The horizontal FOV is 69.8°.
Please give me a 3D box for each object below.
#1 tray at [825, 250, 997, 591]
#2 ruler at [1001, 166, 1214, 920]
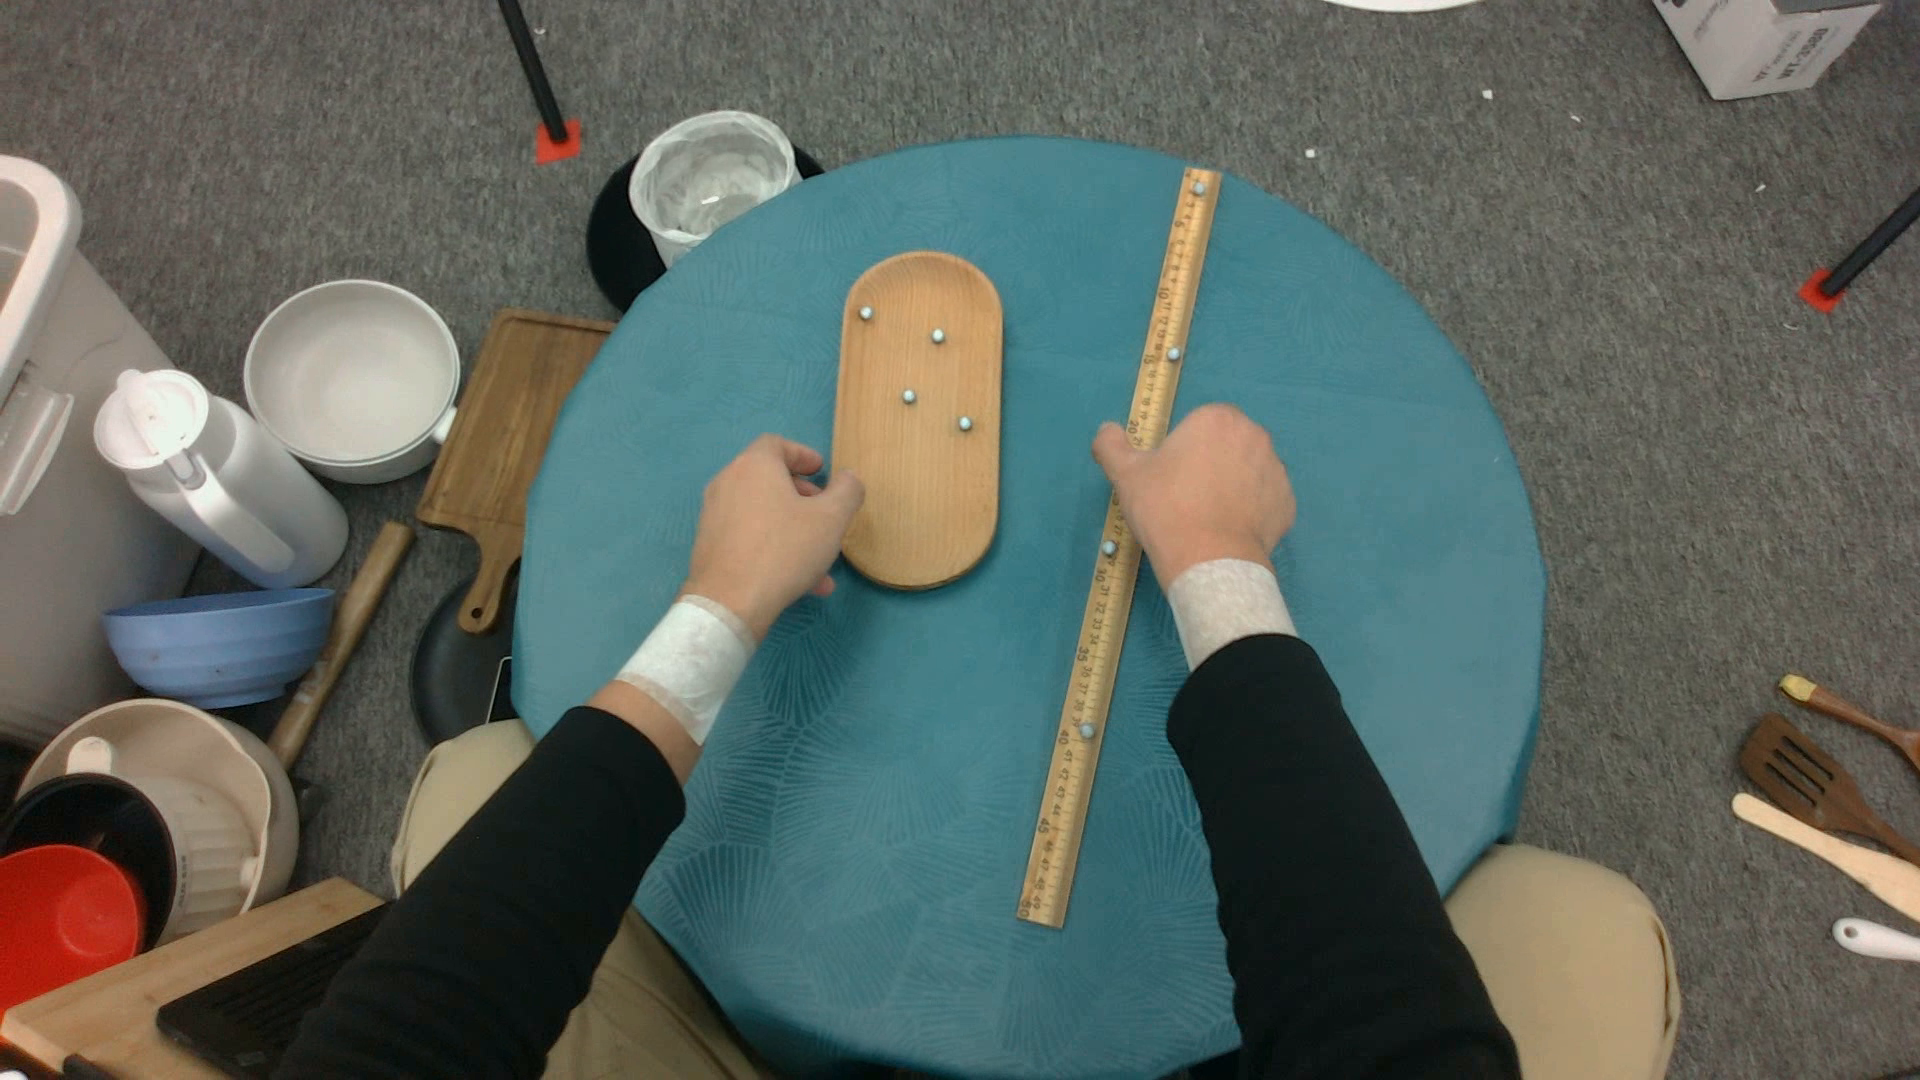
[{"bbox_3d":[-0.030,-0.077,0.837,0.101,0.020,0.232,-2,68,1],"label":"tray"},{"bbox_3d":[0.094,-0.025,0.820,0.027,0.006,0.502,12,67,8],"label":"ruler"}]
